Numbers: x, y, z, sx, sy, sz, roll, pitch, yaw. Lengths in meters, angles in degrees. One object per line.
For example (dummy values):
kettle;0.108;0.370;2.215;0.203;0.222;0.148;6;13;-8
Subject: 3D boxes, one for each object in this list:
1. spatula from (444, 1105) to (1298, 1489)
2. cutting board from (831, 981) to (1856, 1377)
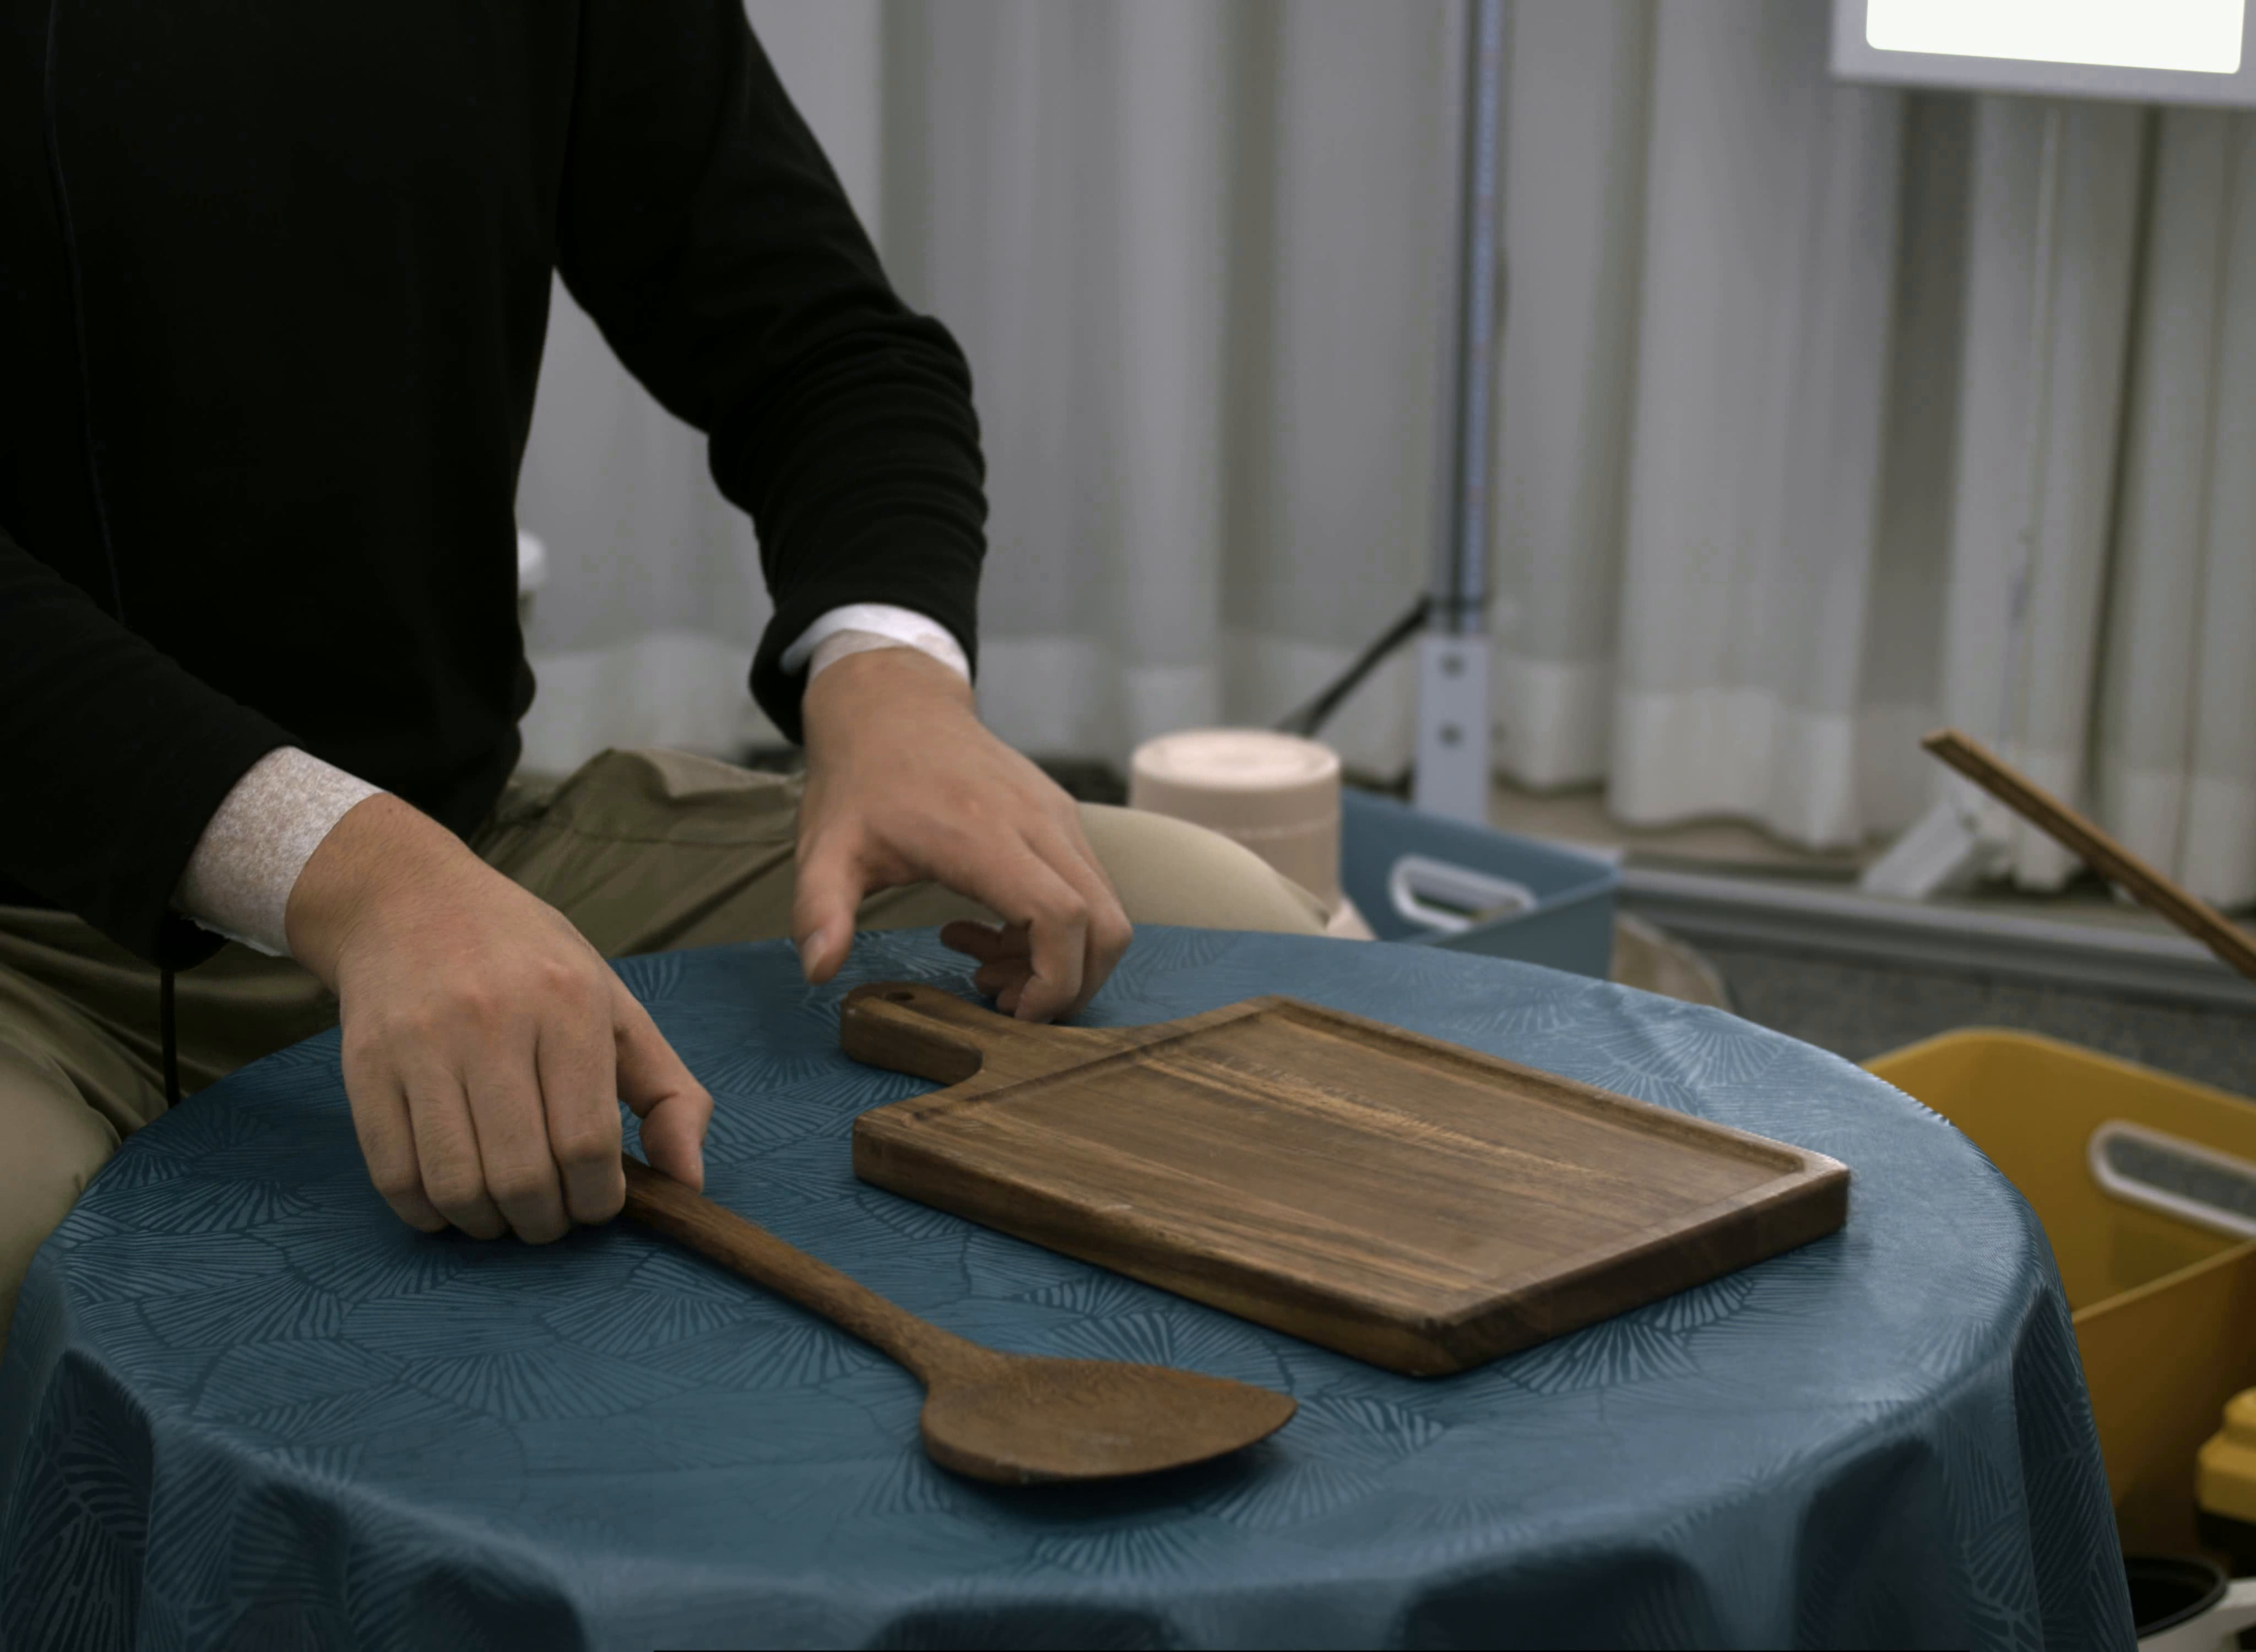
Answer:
spatula;-0.097;0.130;1.526;0.096;0.016;0.381;-10;19;-36
cutting board;0.033;0.095;1.645;0.347;0.023;0.202;15;21;43
